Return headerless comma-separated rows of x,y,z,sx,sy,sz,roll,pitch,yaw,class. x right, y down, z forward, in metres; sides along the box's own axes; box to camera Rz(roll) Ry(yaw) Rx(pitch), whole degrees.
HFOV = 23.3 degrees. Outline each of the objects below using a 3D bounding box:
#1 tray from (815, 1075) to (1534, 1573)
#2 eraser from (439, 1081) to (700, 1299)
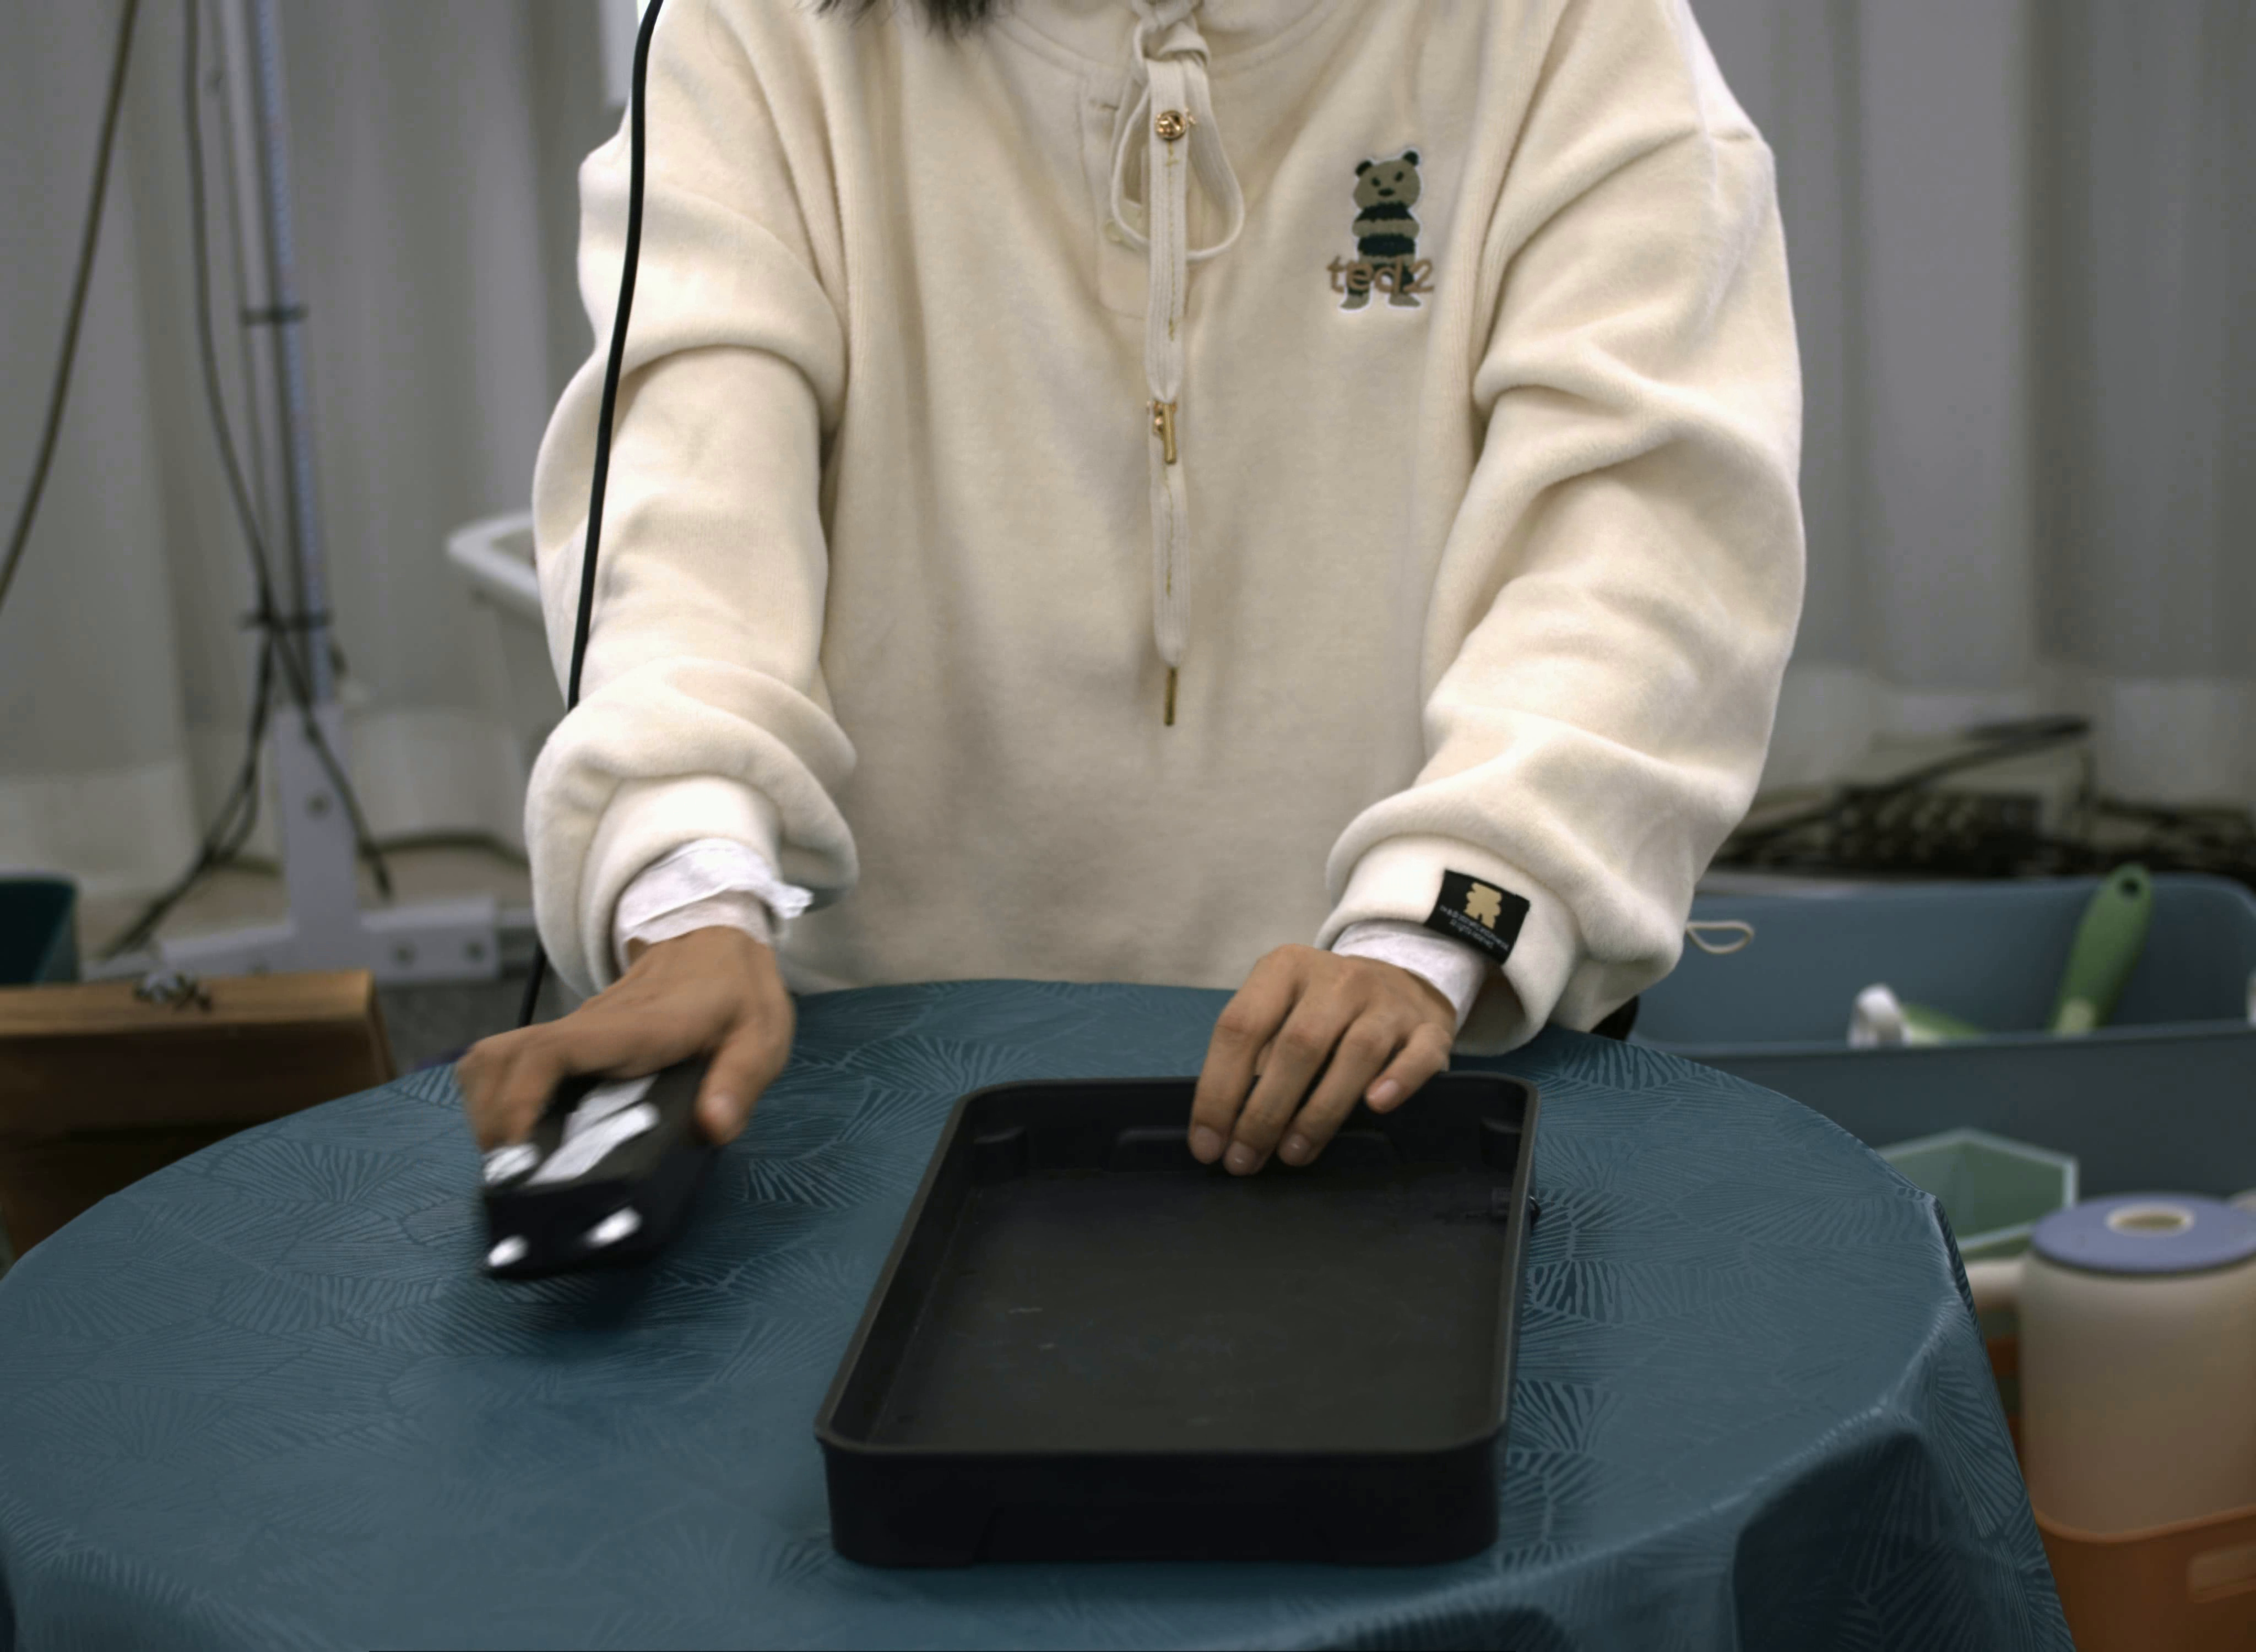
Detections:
0.022,0.136,1.556,0.184,0.037,0.320,-1,15,6,tray
-0.167,0.110,1.661,0.053,0.030,0.126,-4,14,9,eraser
